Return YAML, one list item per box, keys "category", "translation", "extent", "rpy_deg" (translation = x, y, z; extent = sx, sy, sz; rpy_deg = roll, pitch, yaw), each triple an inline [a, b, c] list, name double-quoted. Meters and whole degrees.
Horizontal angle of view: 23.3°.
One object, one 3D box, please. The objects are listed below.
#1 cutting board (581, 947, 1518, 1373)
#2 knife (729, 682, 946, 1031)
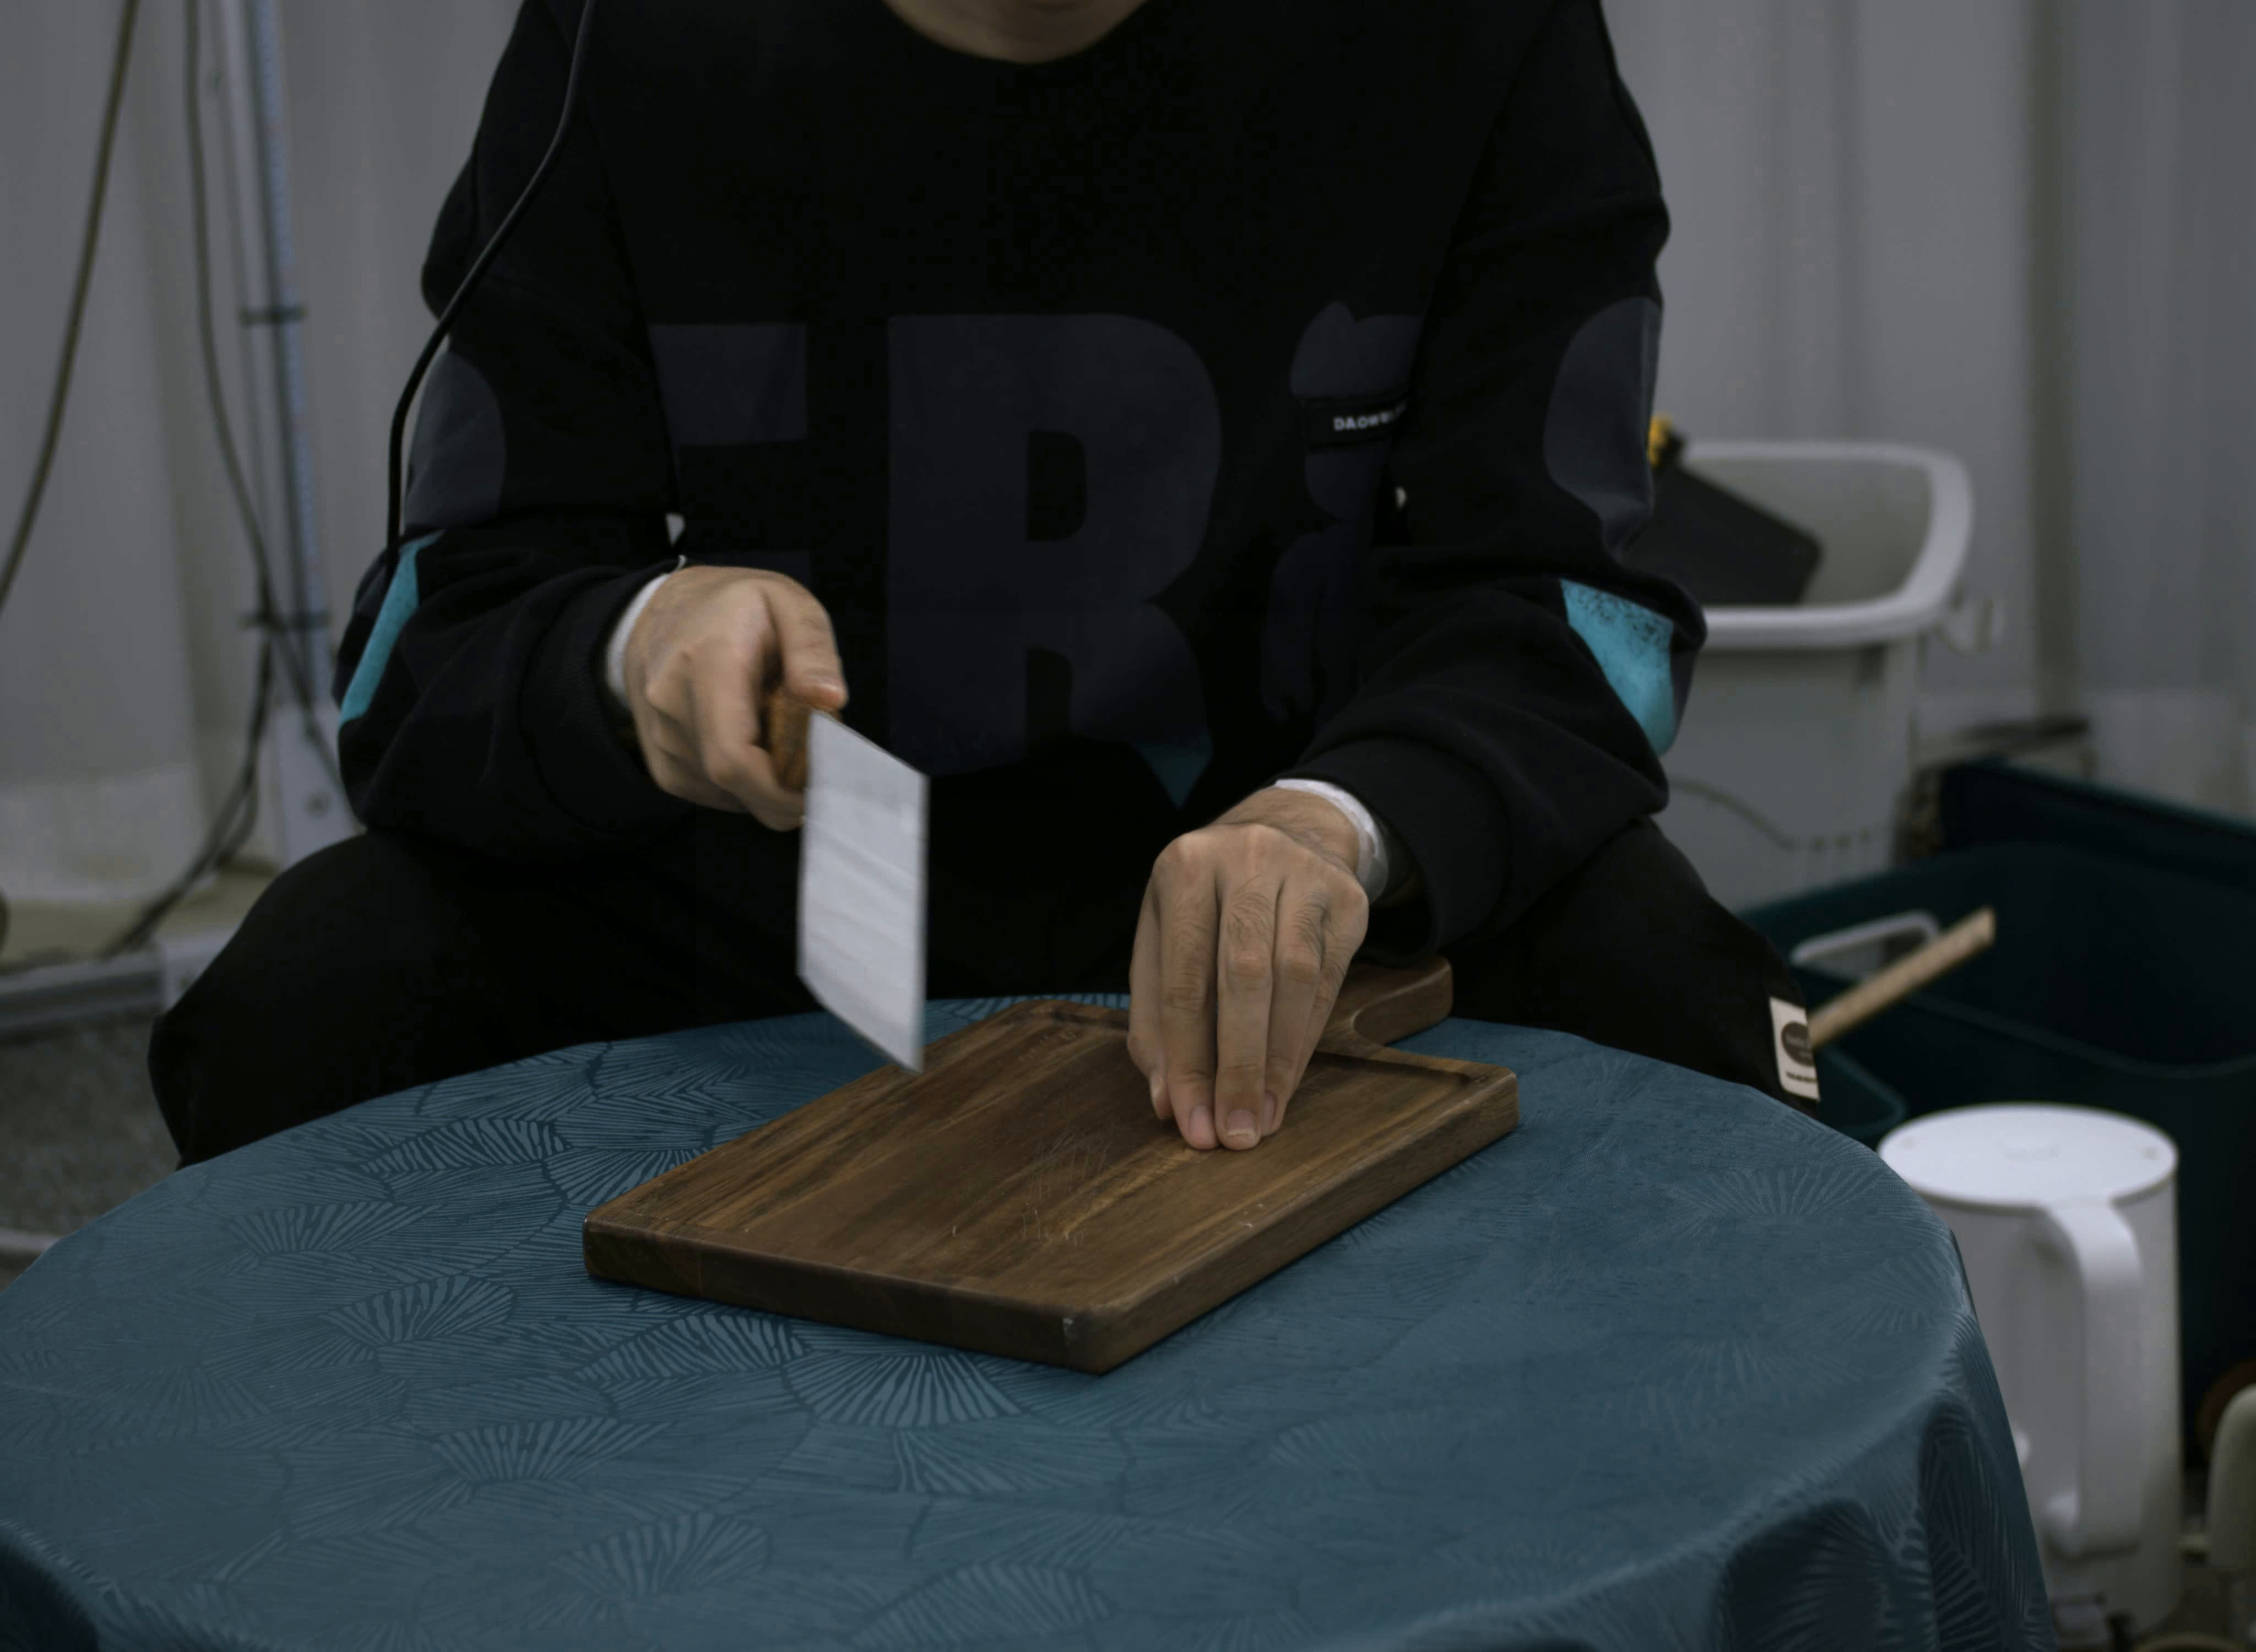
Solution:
- category: "cutting board"
  translation: [0.006, 0.095, 1.745]
  extent: [0.201, 0.023, 0.352]
  rpy_deg: [7, 18, 32]
- category: "knife"
  translation: [-0.091, 0.009, 1.730]
  extent: [0.021, 0.093, 0.307]
  rpy_deg: [-1, 8, -14]
